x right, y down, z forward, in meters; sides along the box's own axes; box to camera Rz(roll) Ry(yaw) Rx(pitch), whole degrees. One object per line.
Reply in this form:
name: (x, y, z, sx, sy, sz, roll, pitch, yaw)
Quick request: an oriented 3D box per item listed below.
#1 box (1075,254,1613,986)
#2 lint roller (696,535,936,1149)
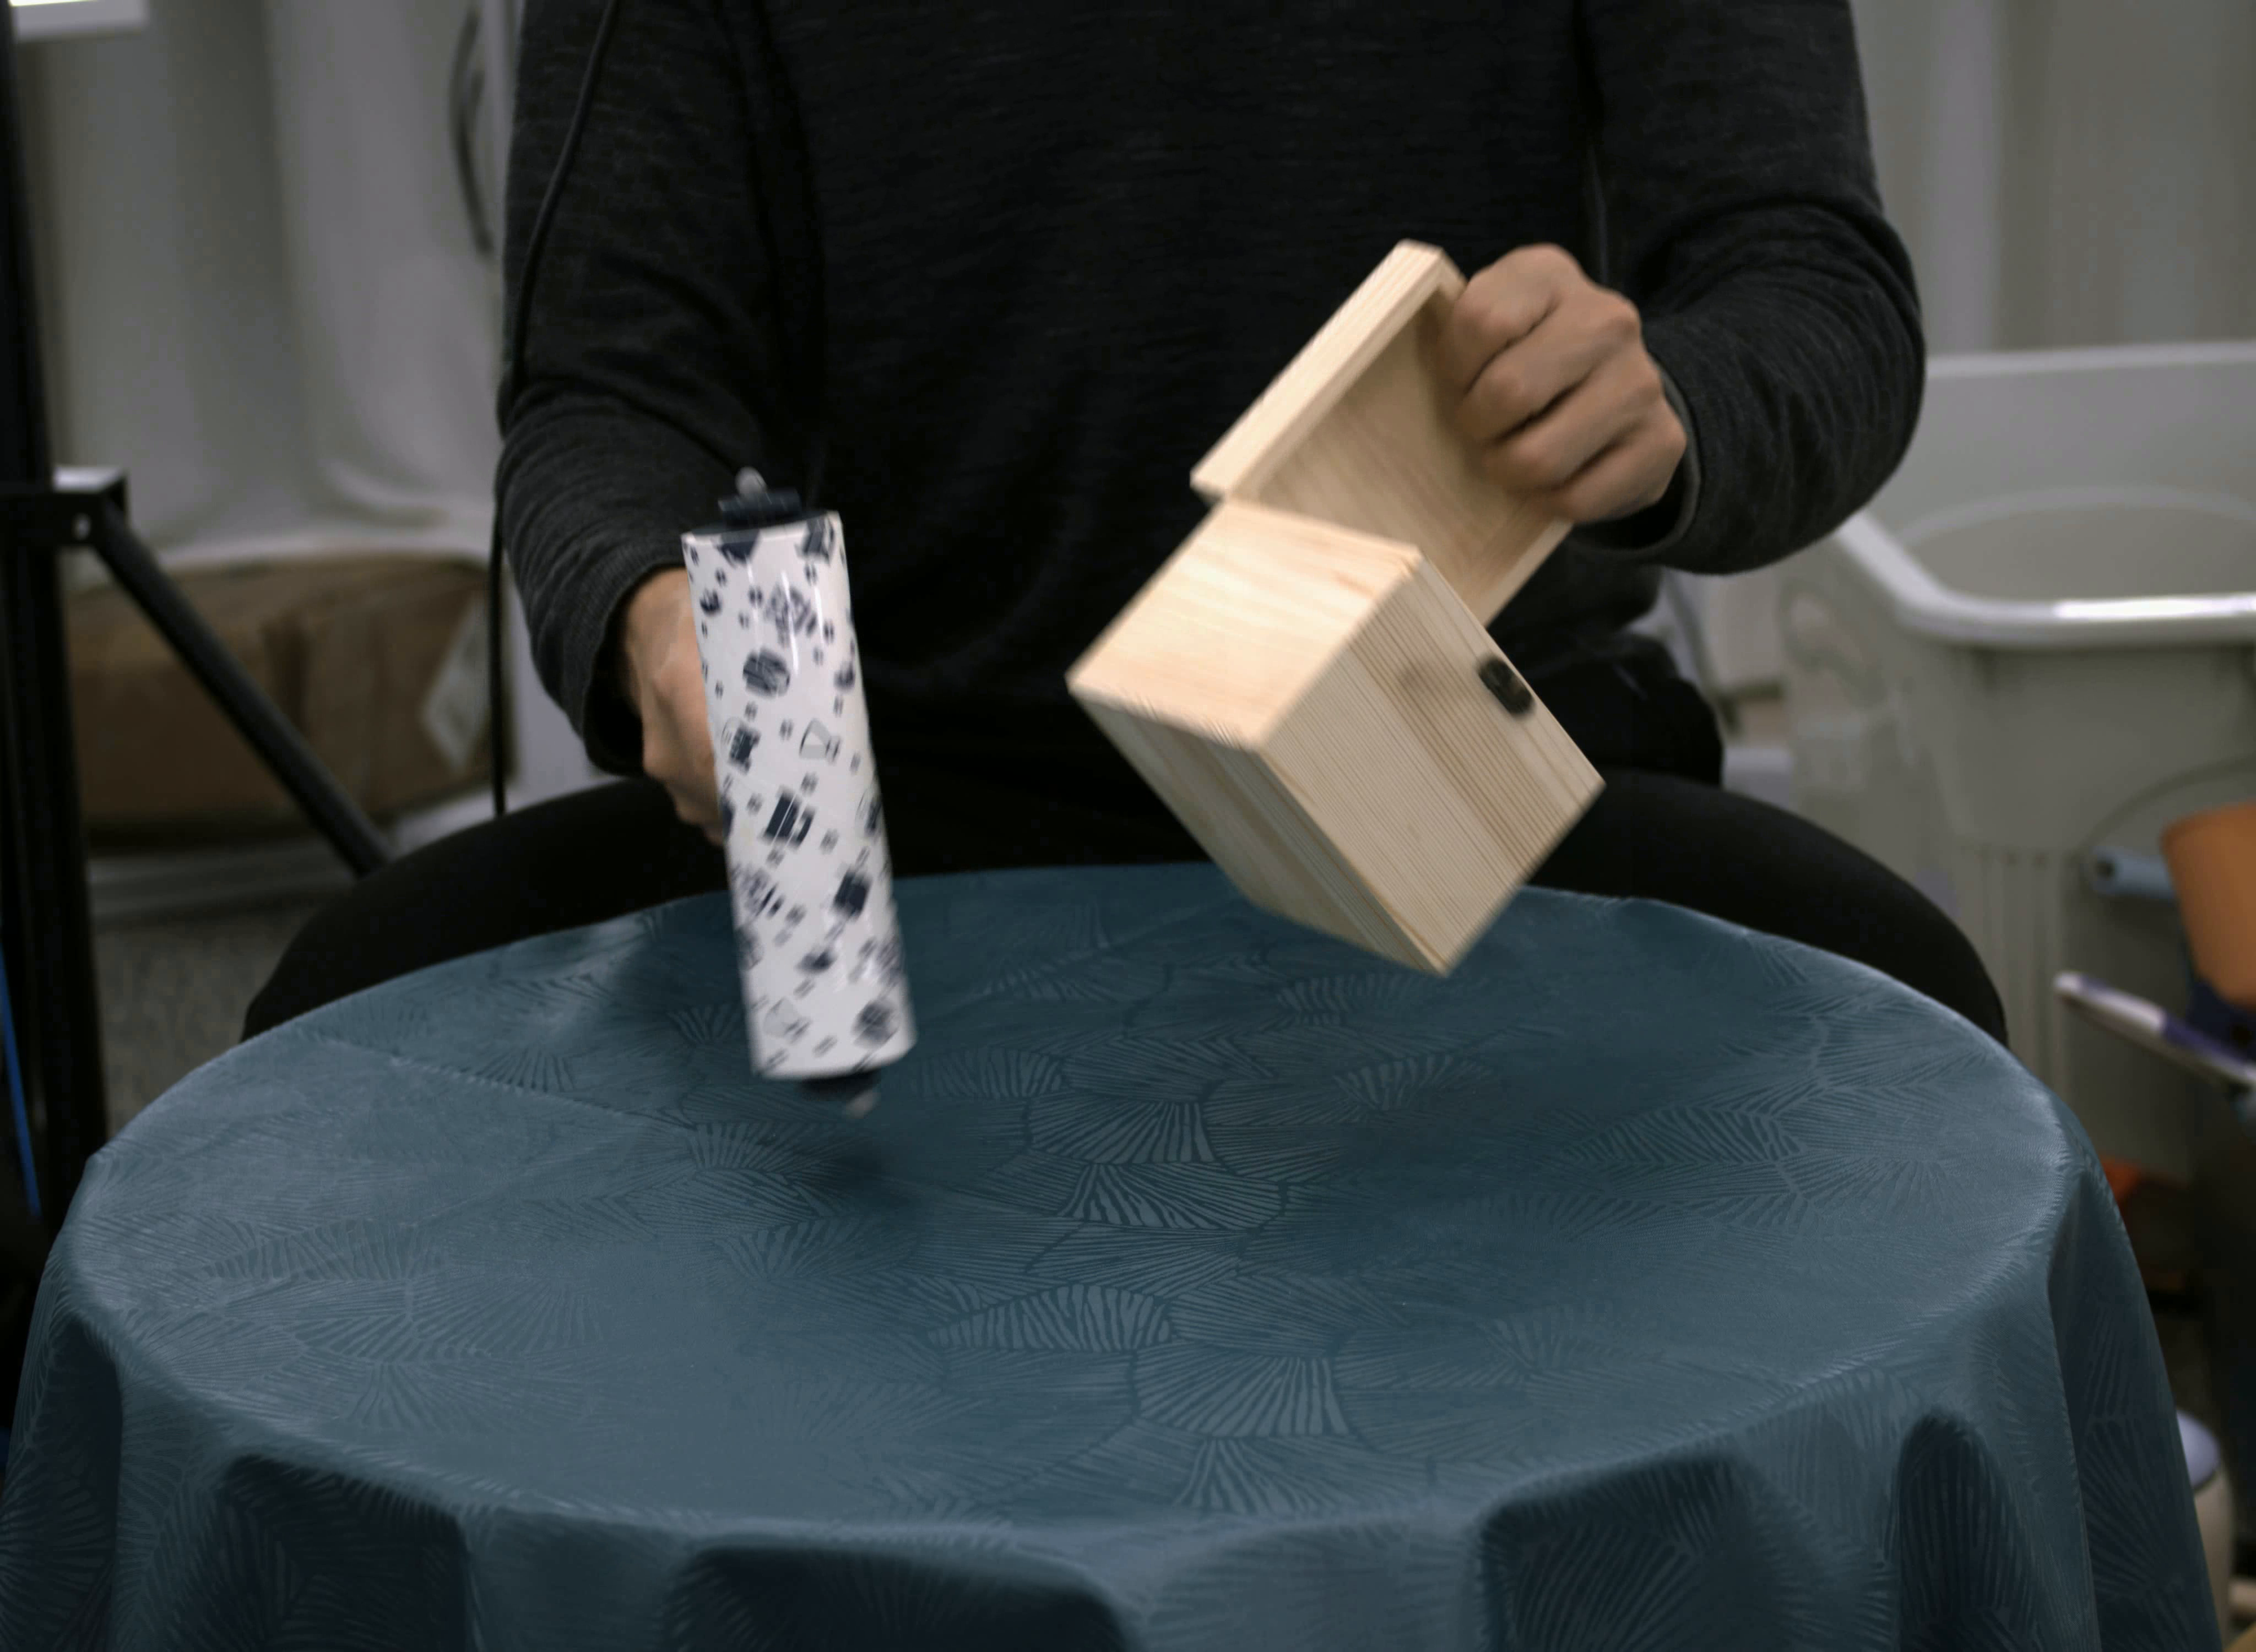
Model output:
box: (0.090, -0.064, 1.570, 0.184, 0.101, 0.137, -50, 32, -14)
lint roller: (-0.095, -0.018, 1.658, 0.050, 0.176, 0.247, 1, 14, 3)
